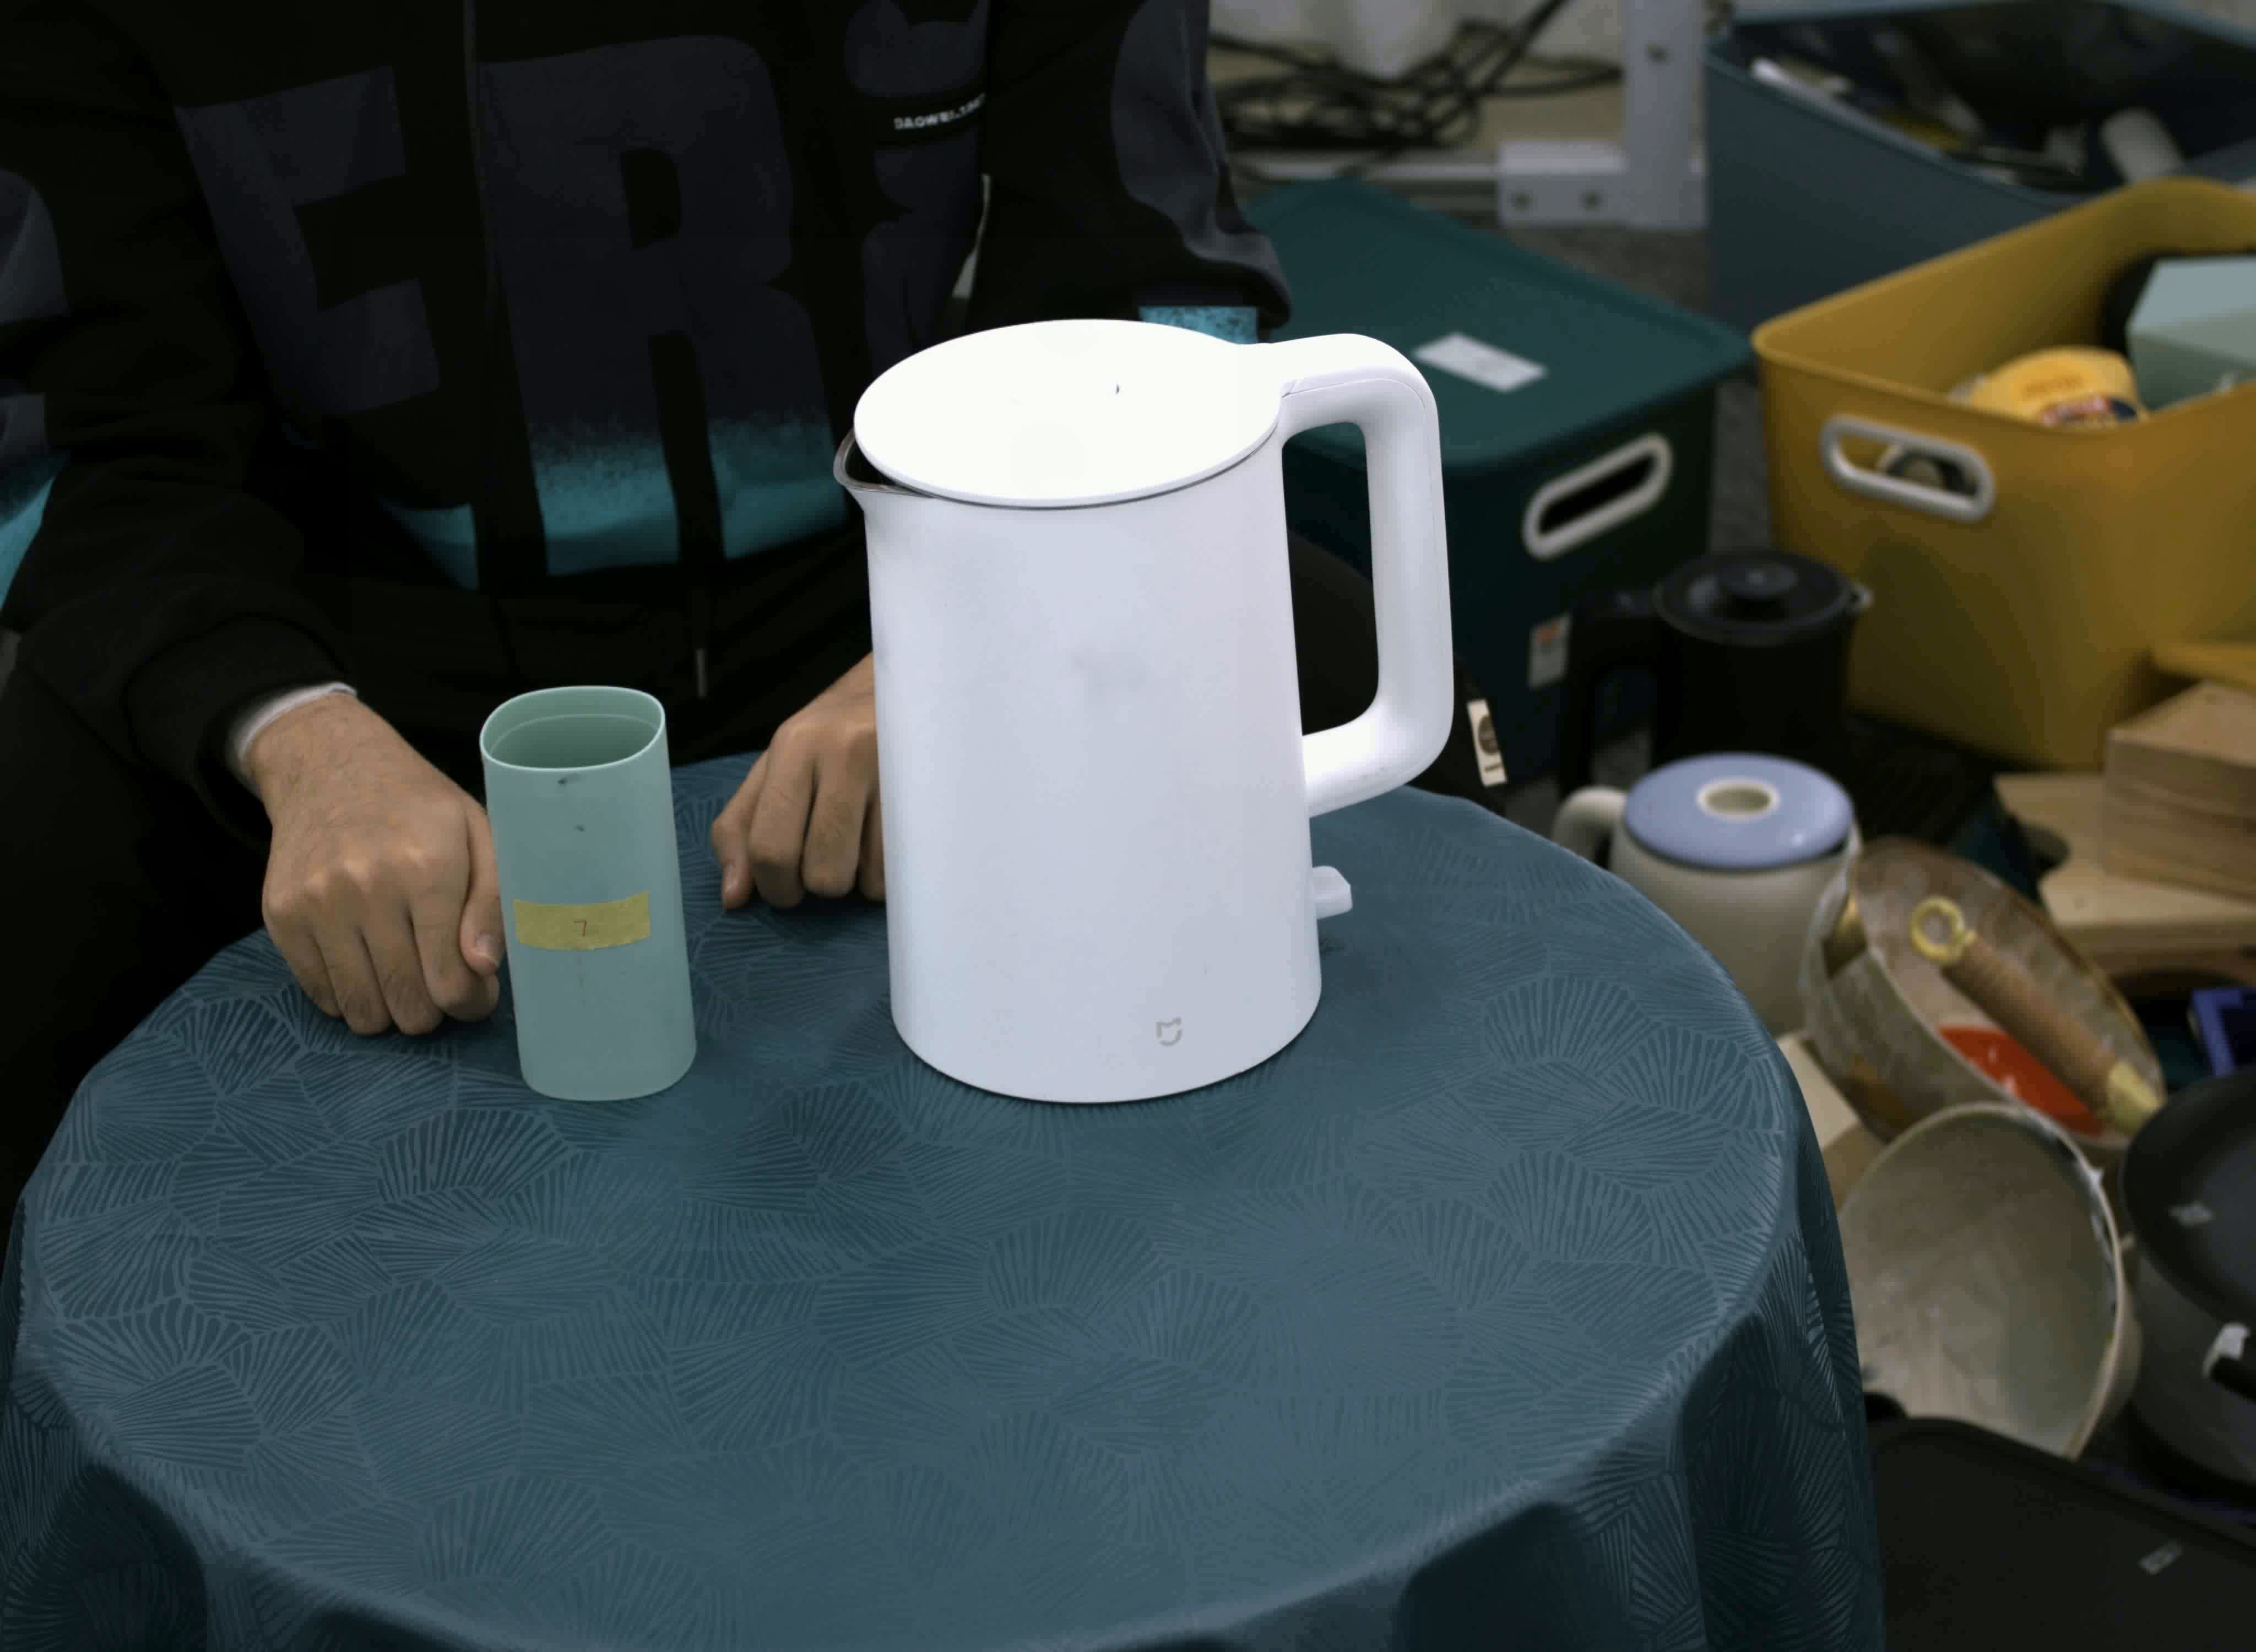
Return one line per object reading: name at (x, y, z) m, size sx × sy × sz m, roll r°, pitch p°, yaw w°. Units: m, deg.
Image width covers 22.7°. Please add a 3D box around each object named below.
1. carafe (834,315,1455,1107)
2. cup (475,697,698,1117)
carafe at (0.011, -0.046, 1.932) m, size 0.213 × 0.237 × 0.153 m, roll -13°, pitch 29°, yaw -17°
cup at (-0.184, 0.027, 1.926) m, size 0.066 × 0.131 × 0.068 m, roll -3°, pitch 27°, yaw 2°
